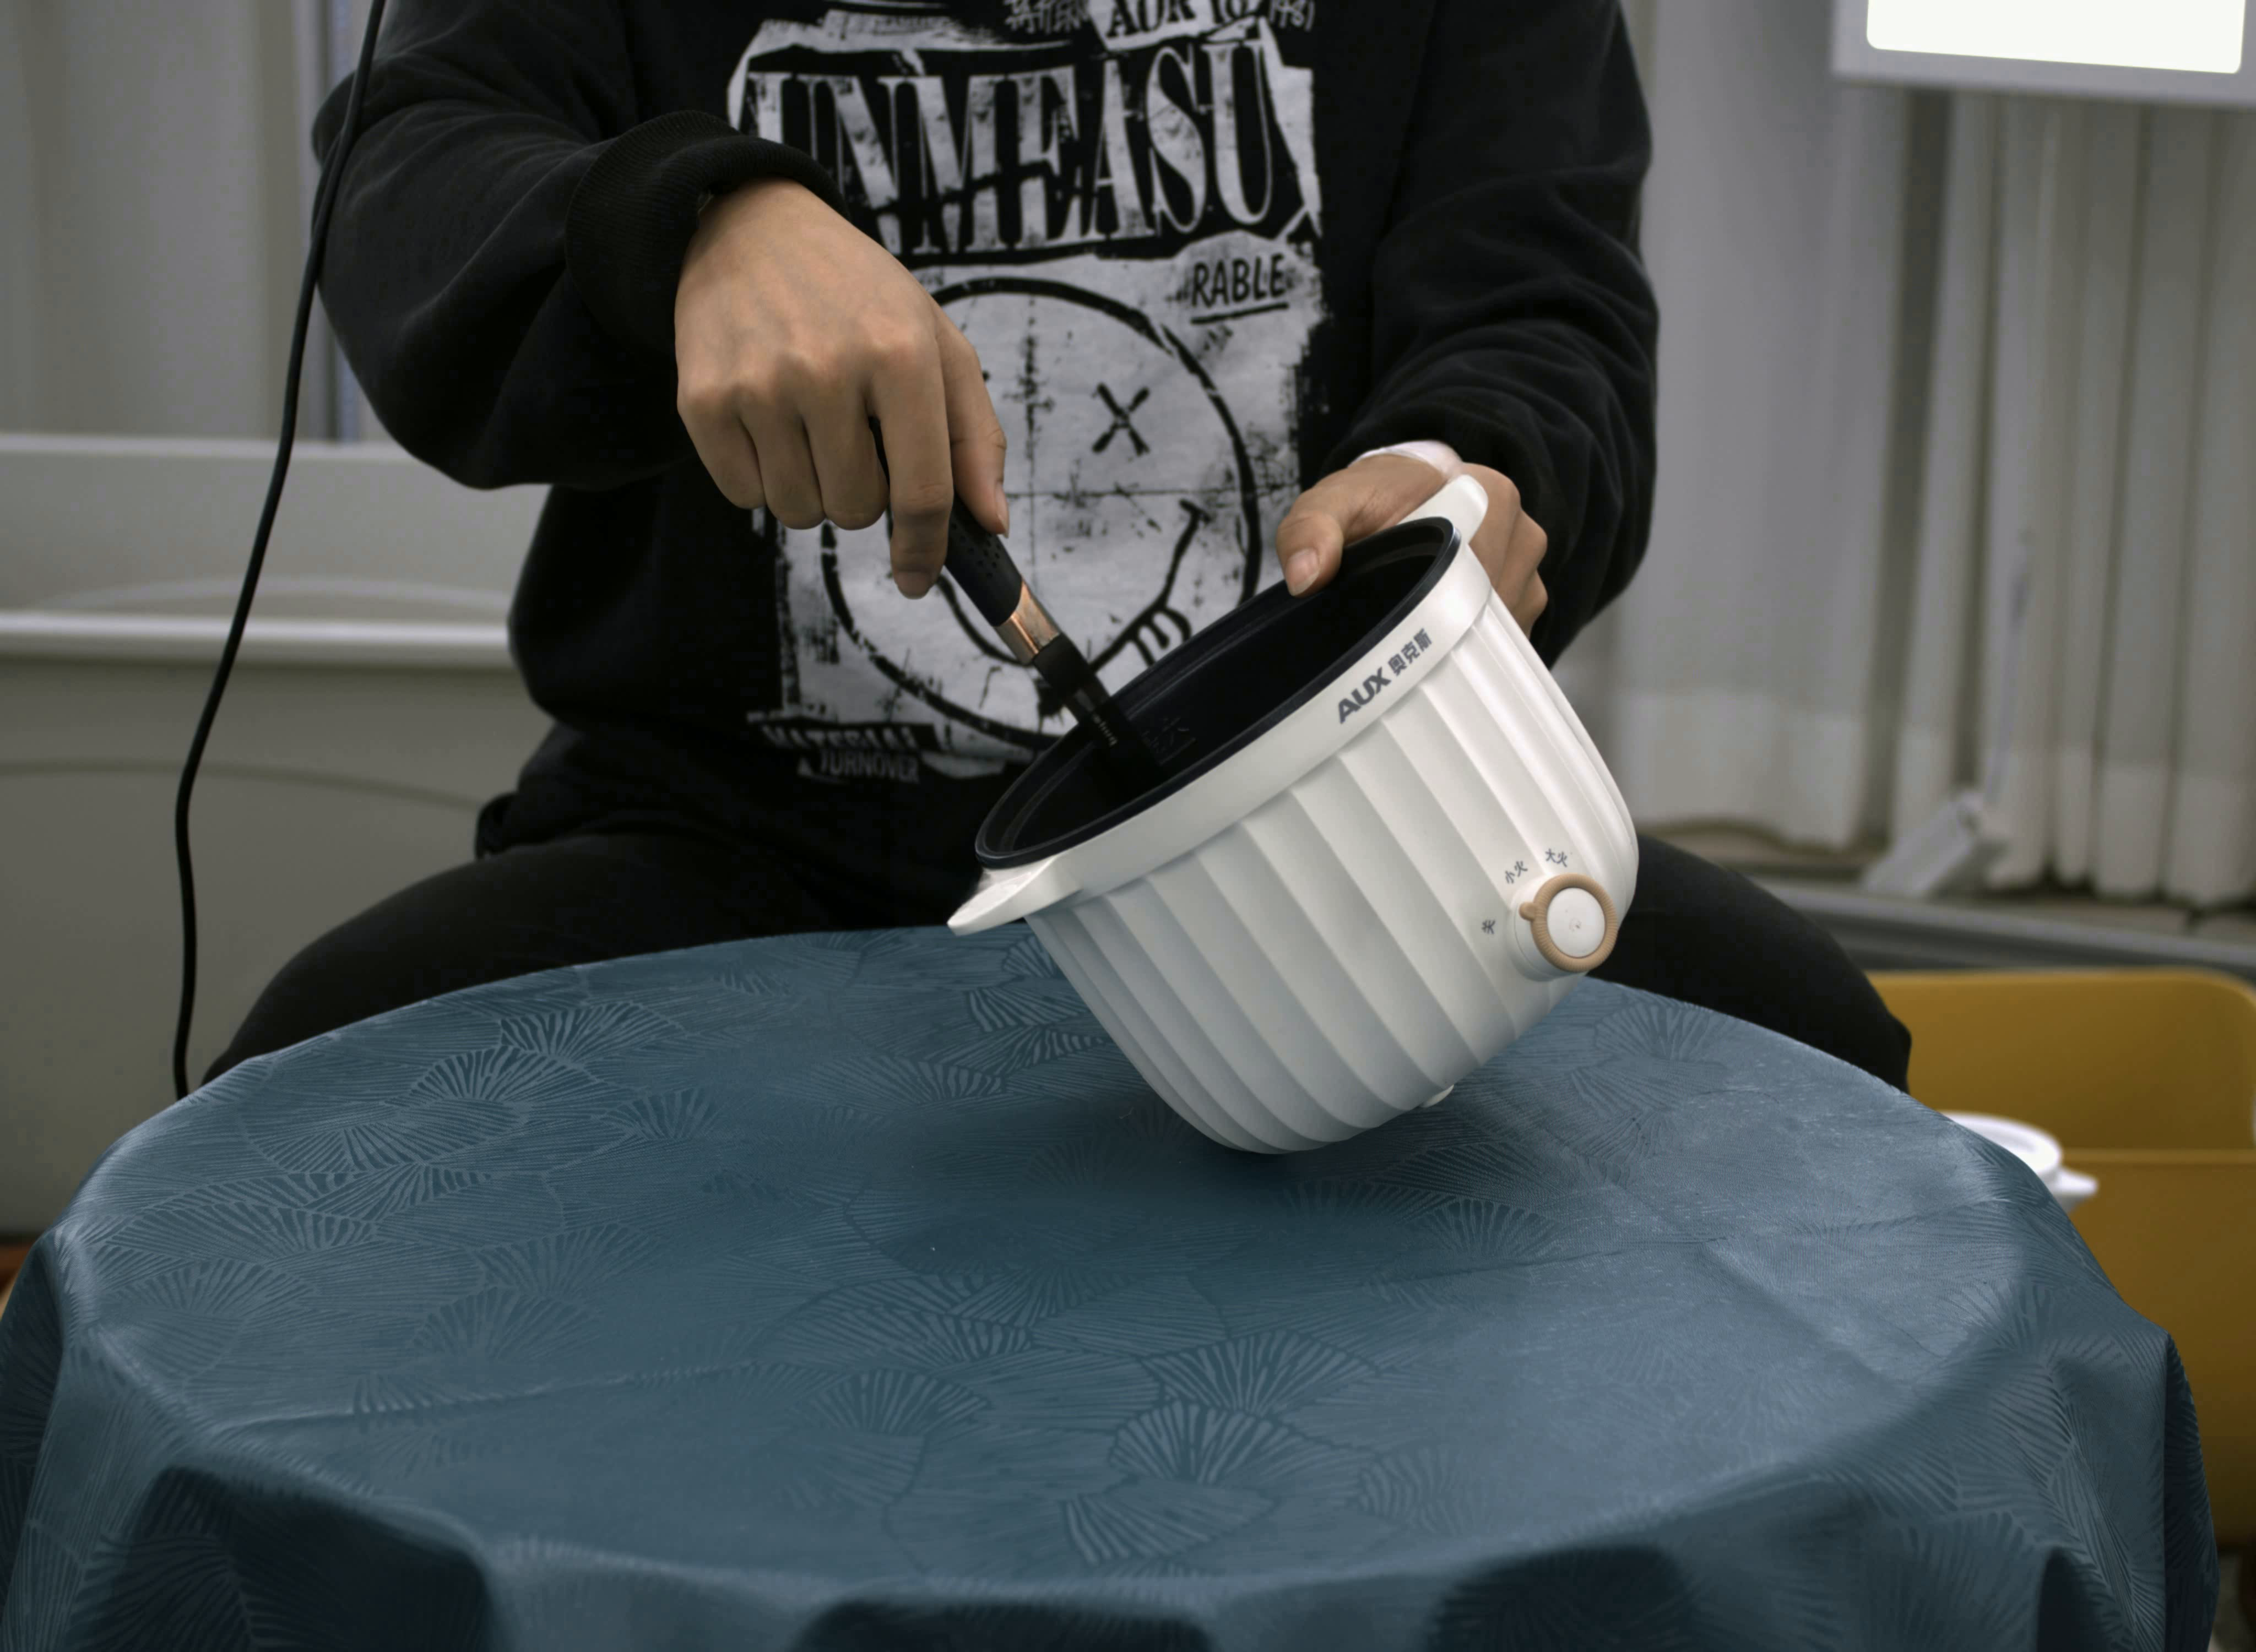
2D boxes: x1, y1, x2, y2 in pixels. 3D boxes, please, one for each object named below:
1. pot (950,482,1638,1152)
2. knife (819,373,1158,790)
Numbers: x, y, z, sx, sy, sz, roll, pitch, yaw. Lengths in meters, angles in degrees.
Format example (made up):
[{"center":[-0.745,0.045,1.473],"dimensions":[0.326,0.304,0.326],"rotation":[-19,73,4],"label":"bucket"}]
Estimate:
[{"center":[0.067,0.008,1.648],"dimensions":[0.240,0.143,0.189],"rotation":[-43,11,-28],"label":"pot"},{"center":[-0.026,-0.057,1.698],"dimensions":[0.017,0.227,0.026],"rotation":[-30,15,32],"label":"knife"}]
